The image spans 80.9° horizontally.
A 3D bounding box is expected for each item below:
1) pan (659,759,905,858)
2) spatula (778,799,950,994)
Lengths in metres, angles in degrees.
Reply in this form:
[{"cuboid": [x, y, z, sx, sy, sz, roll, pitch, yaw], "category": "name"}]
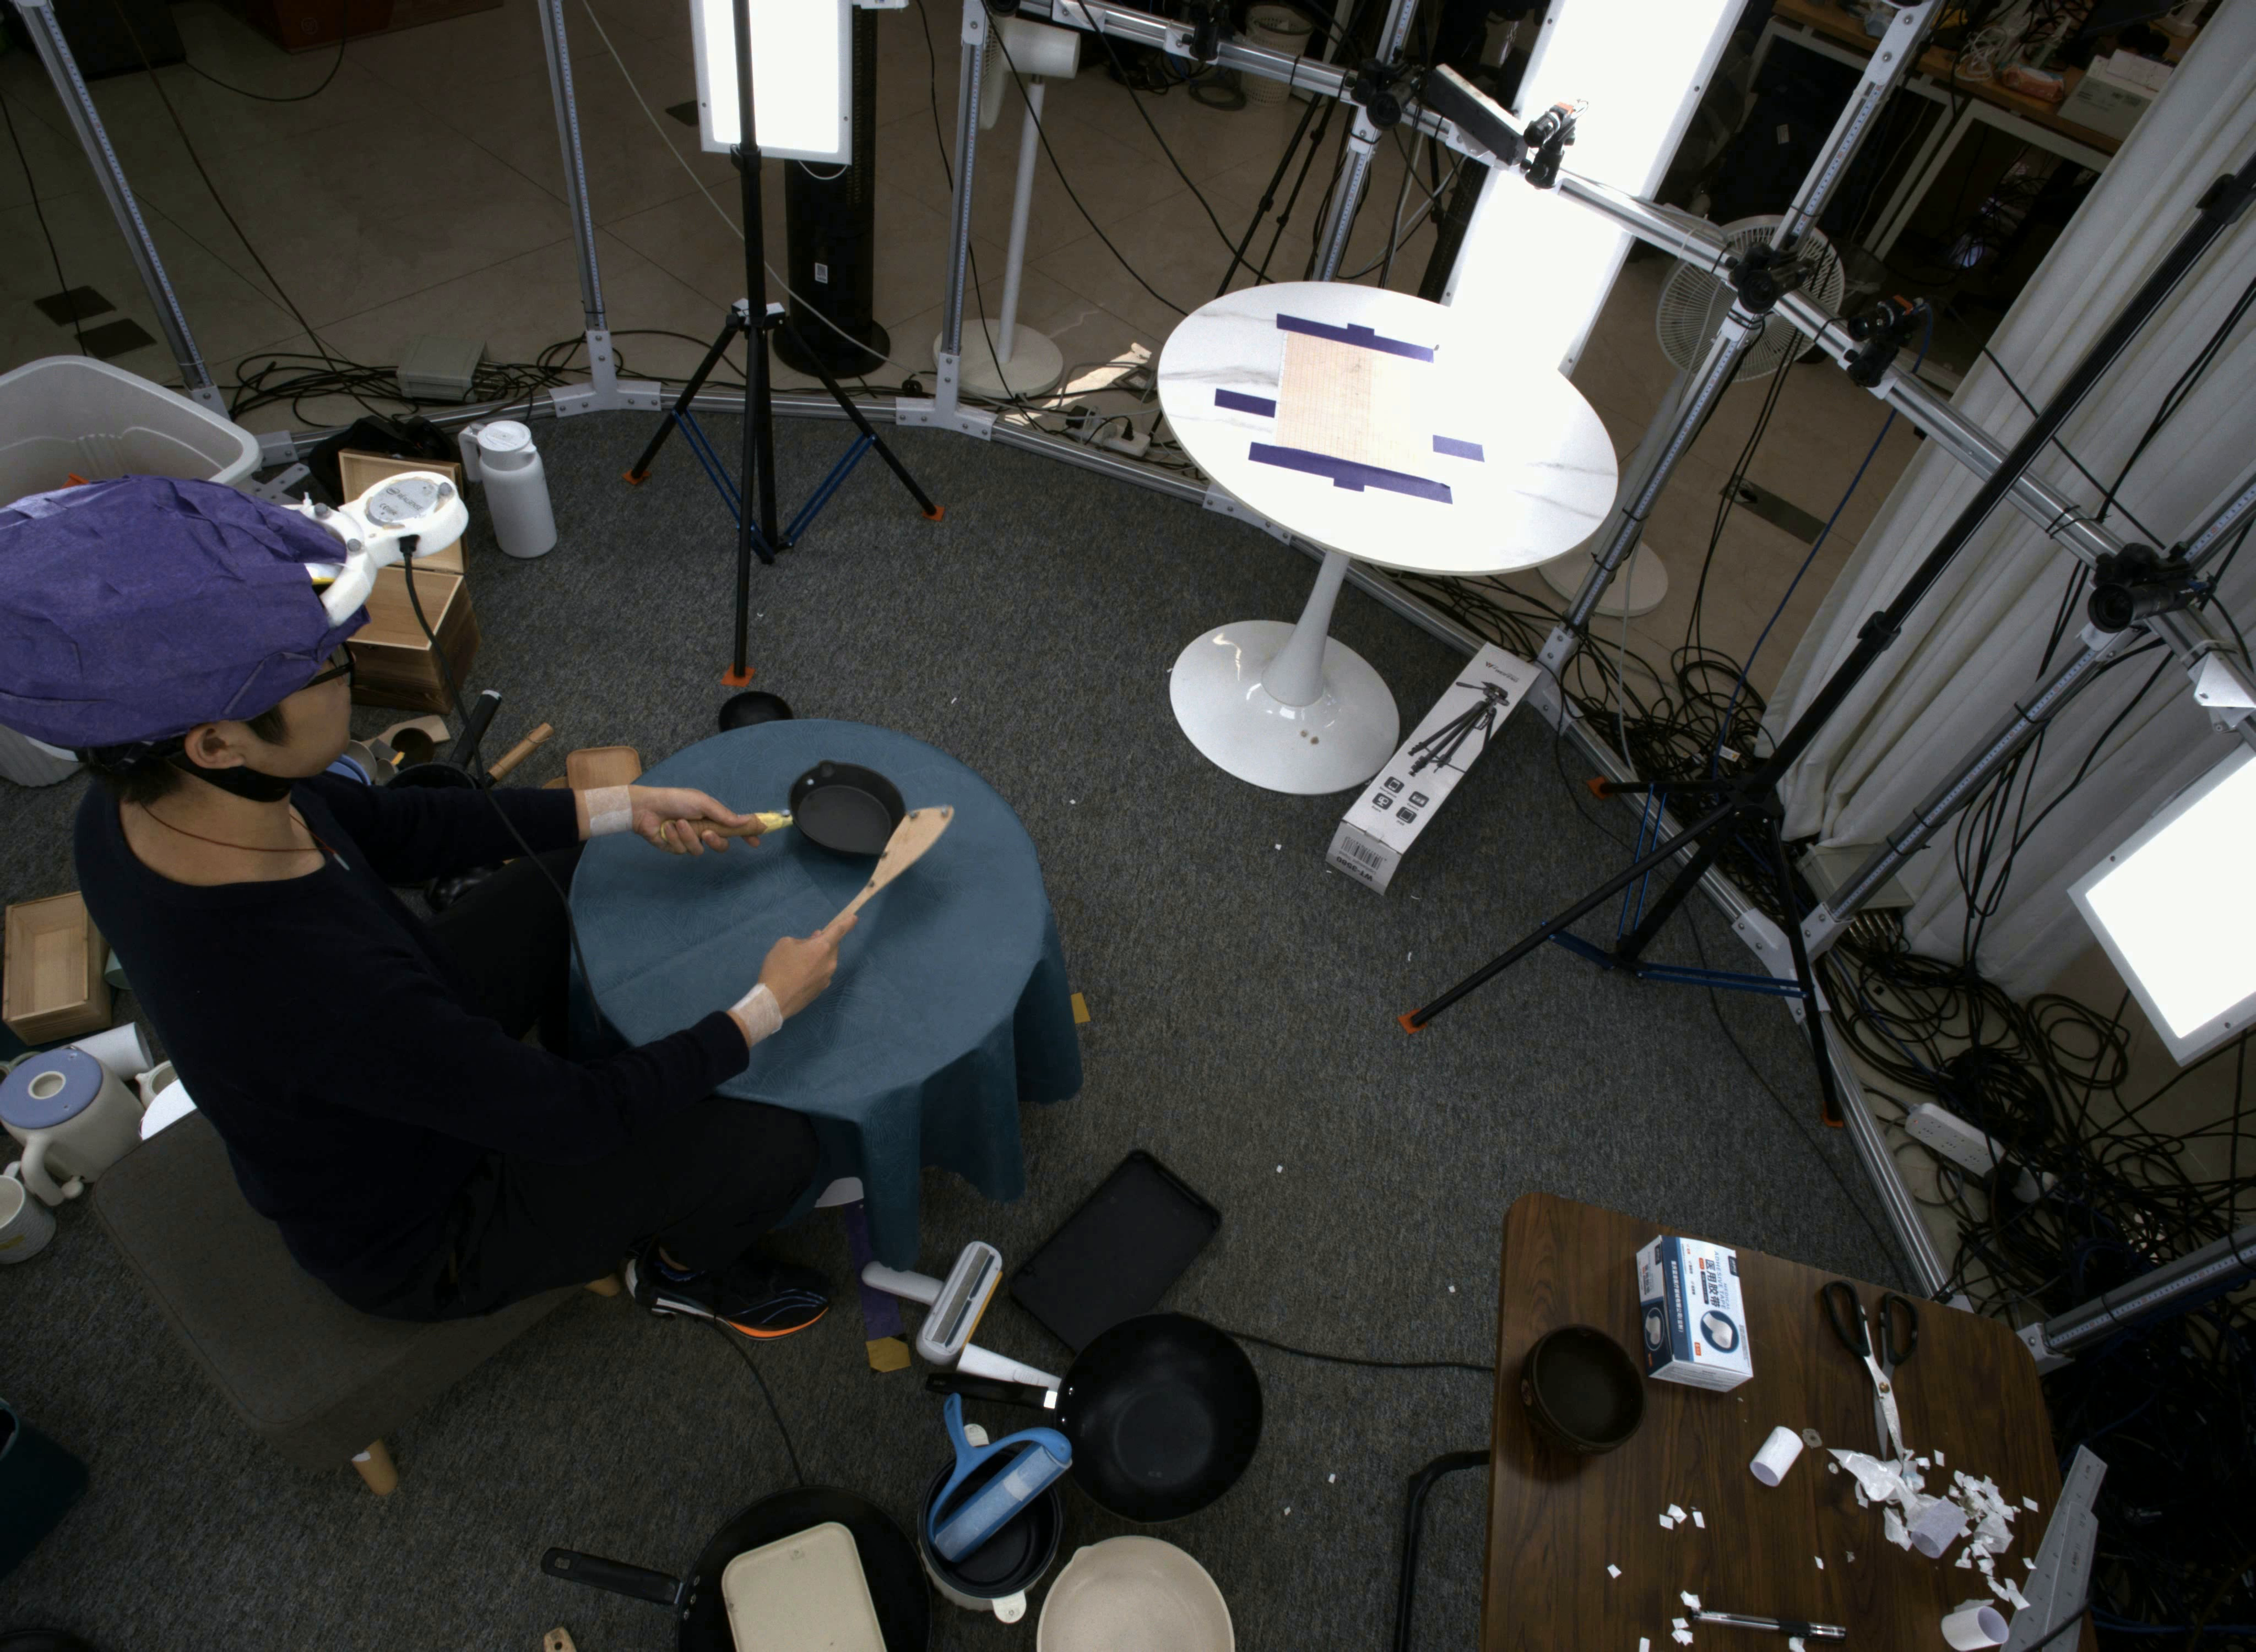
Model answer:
[{"cuboid": [-0.440, -0.010, 1.653, 0.328, 0.050, 0.164, -9, 55, -35], "category": "pan"}, {"cuboid": [-0.325, 0.079, 1.584, 0.077, 0.017, 0.326, 0, 41, 38], "category": "spatula"}]
